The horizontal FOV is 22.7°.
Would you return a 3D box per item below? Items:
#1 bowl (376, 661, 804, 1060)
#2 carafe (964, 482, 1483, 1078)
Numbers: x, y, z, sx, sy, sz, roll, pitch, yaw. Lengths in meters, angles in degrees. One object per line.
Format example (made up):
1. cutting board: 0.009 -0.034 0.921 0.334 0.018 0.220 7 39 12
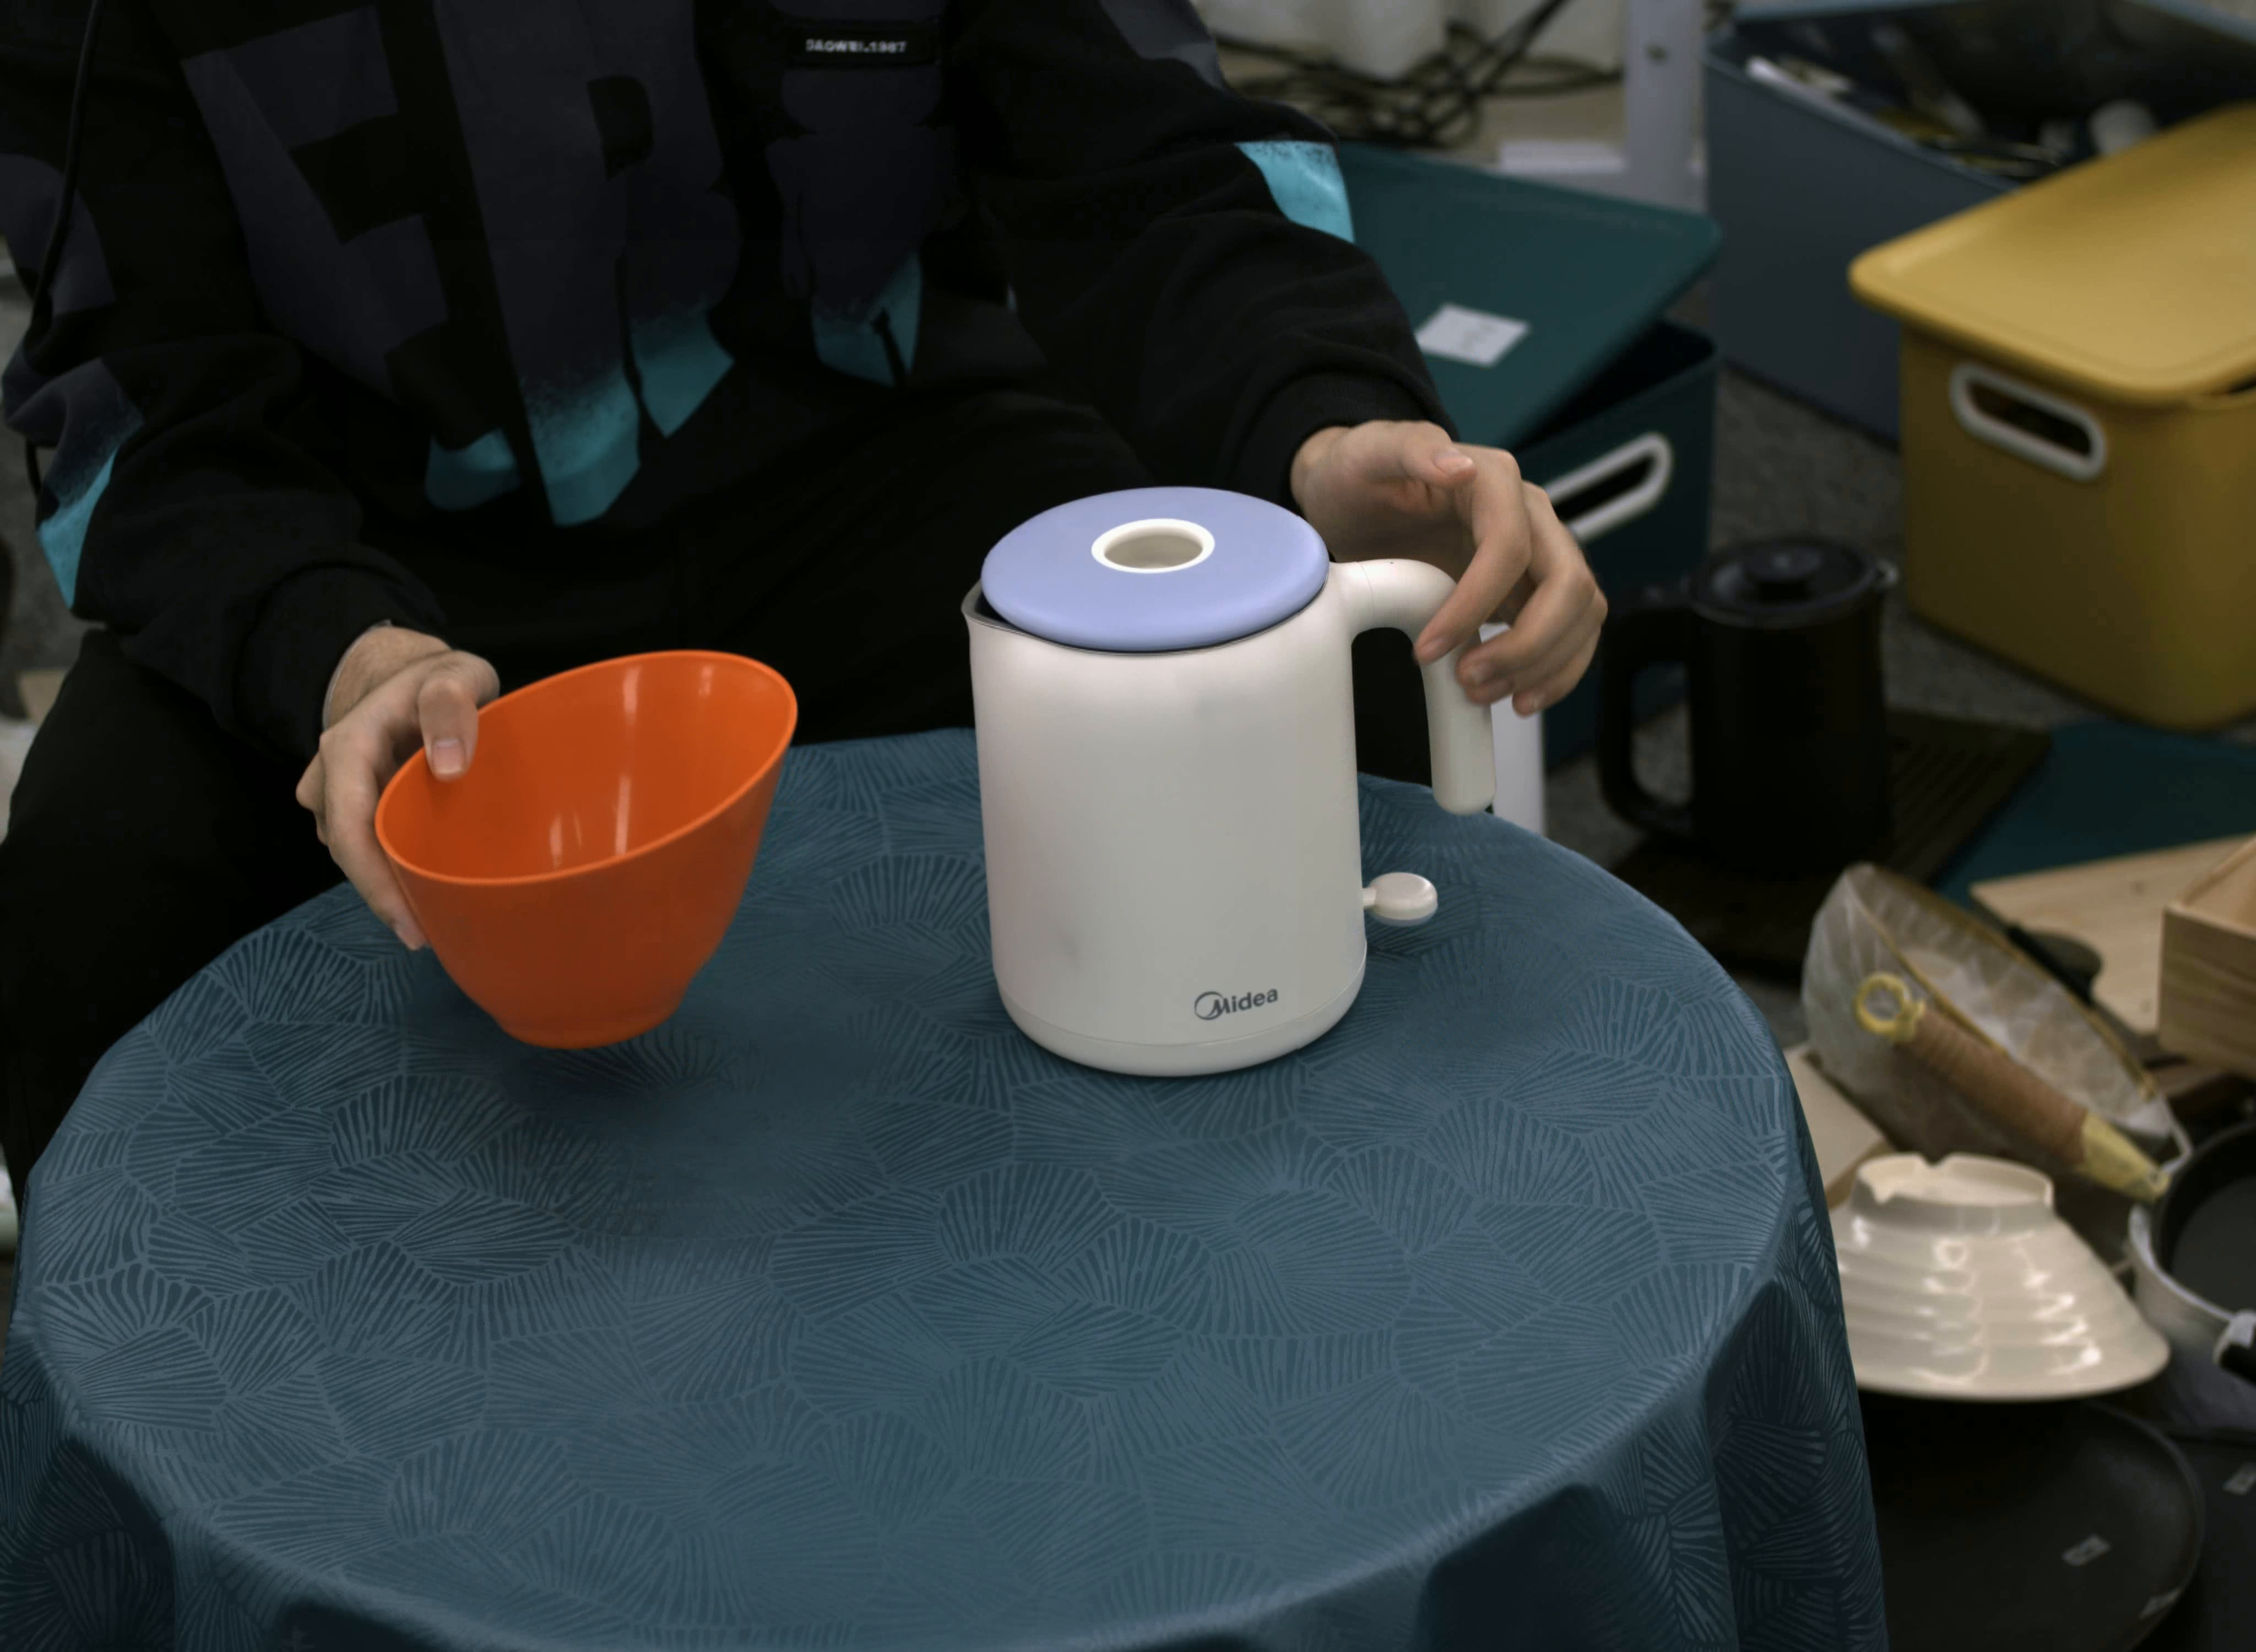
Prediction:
1. bowl: -0.179 0.018 1.913 0.147 0.103 0.150 -3 29 2
2. carafe: 0.036 -0.020 1.948 0.191 0.180 0.133 -10 28 -18
